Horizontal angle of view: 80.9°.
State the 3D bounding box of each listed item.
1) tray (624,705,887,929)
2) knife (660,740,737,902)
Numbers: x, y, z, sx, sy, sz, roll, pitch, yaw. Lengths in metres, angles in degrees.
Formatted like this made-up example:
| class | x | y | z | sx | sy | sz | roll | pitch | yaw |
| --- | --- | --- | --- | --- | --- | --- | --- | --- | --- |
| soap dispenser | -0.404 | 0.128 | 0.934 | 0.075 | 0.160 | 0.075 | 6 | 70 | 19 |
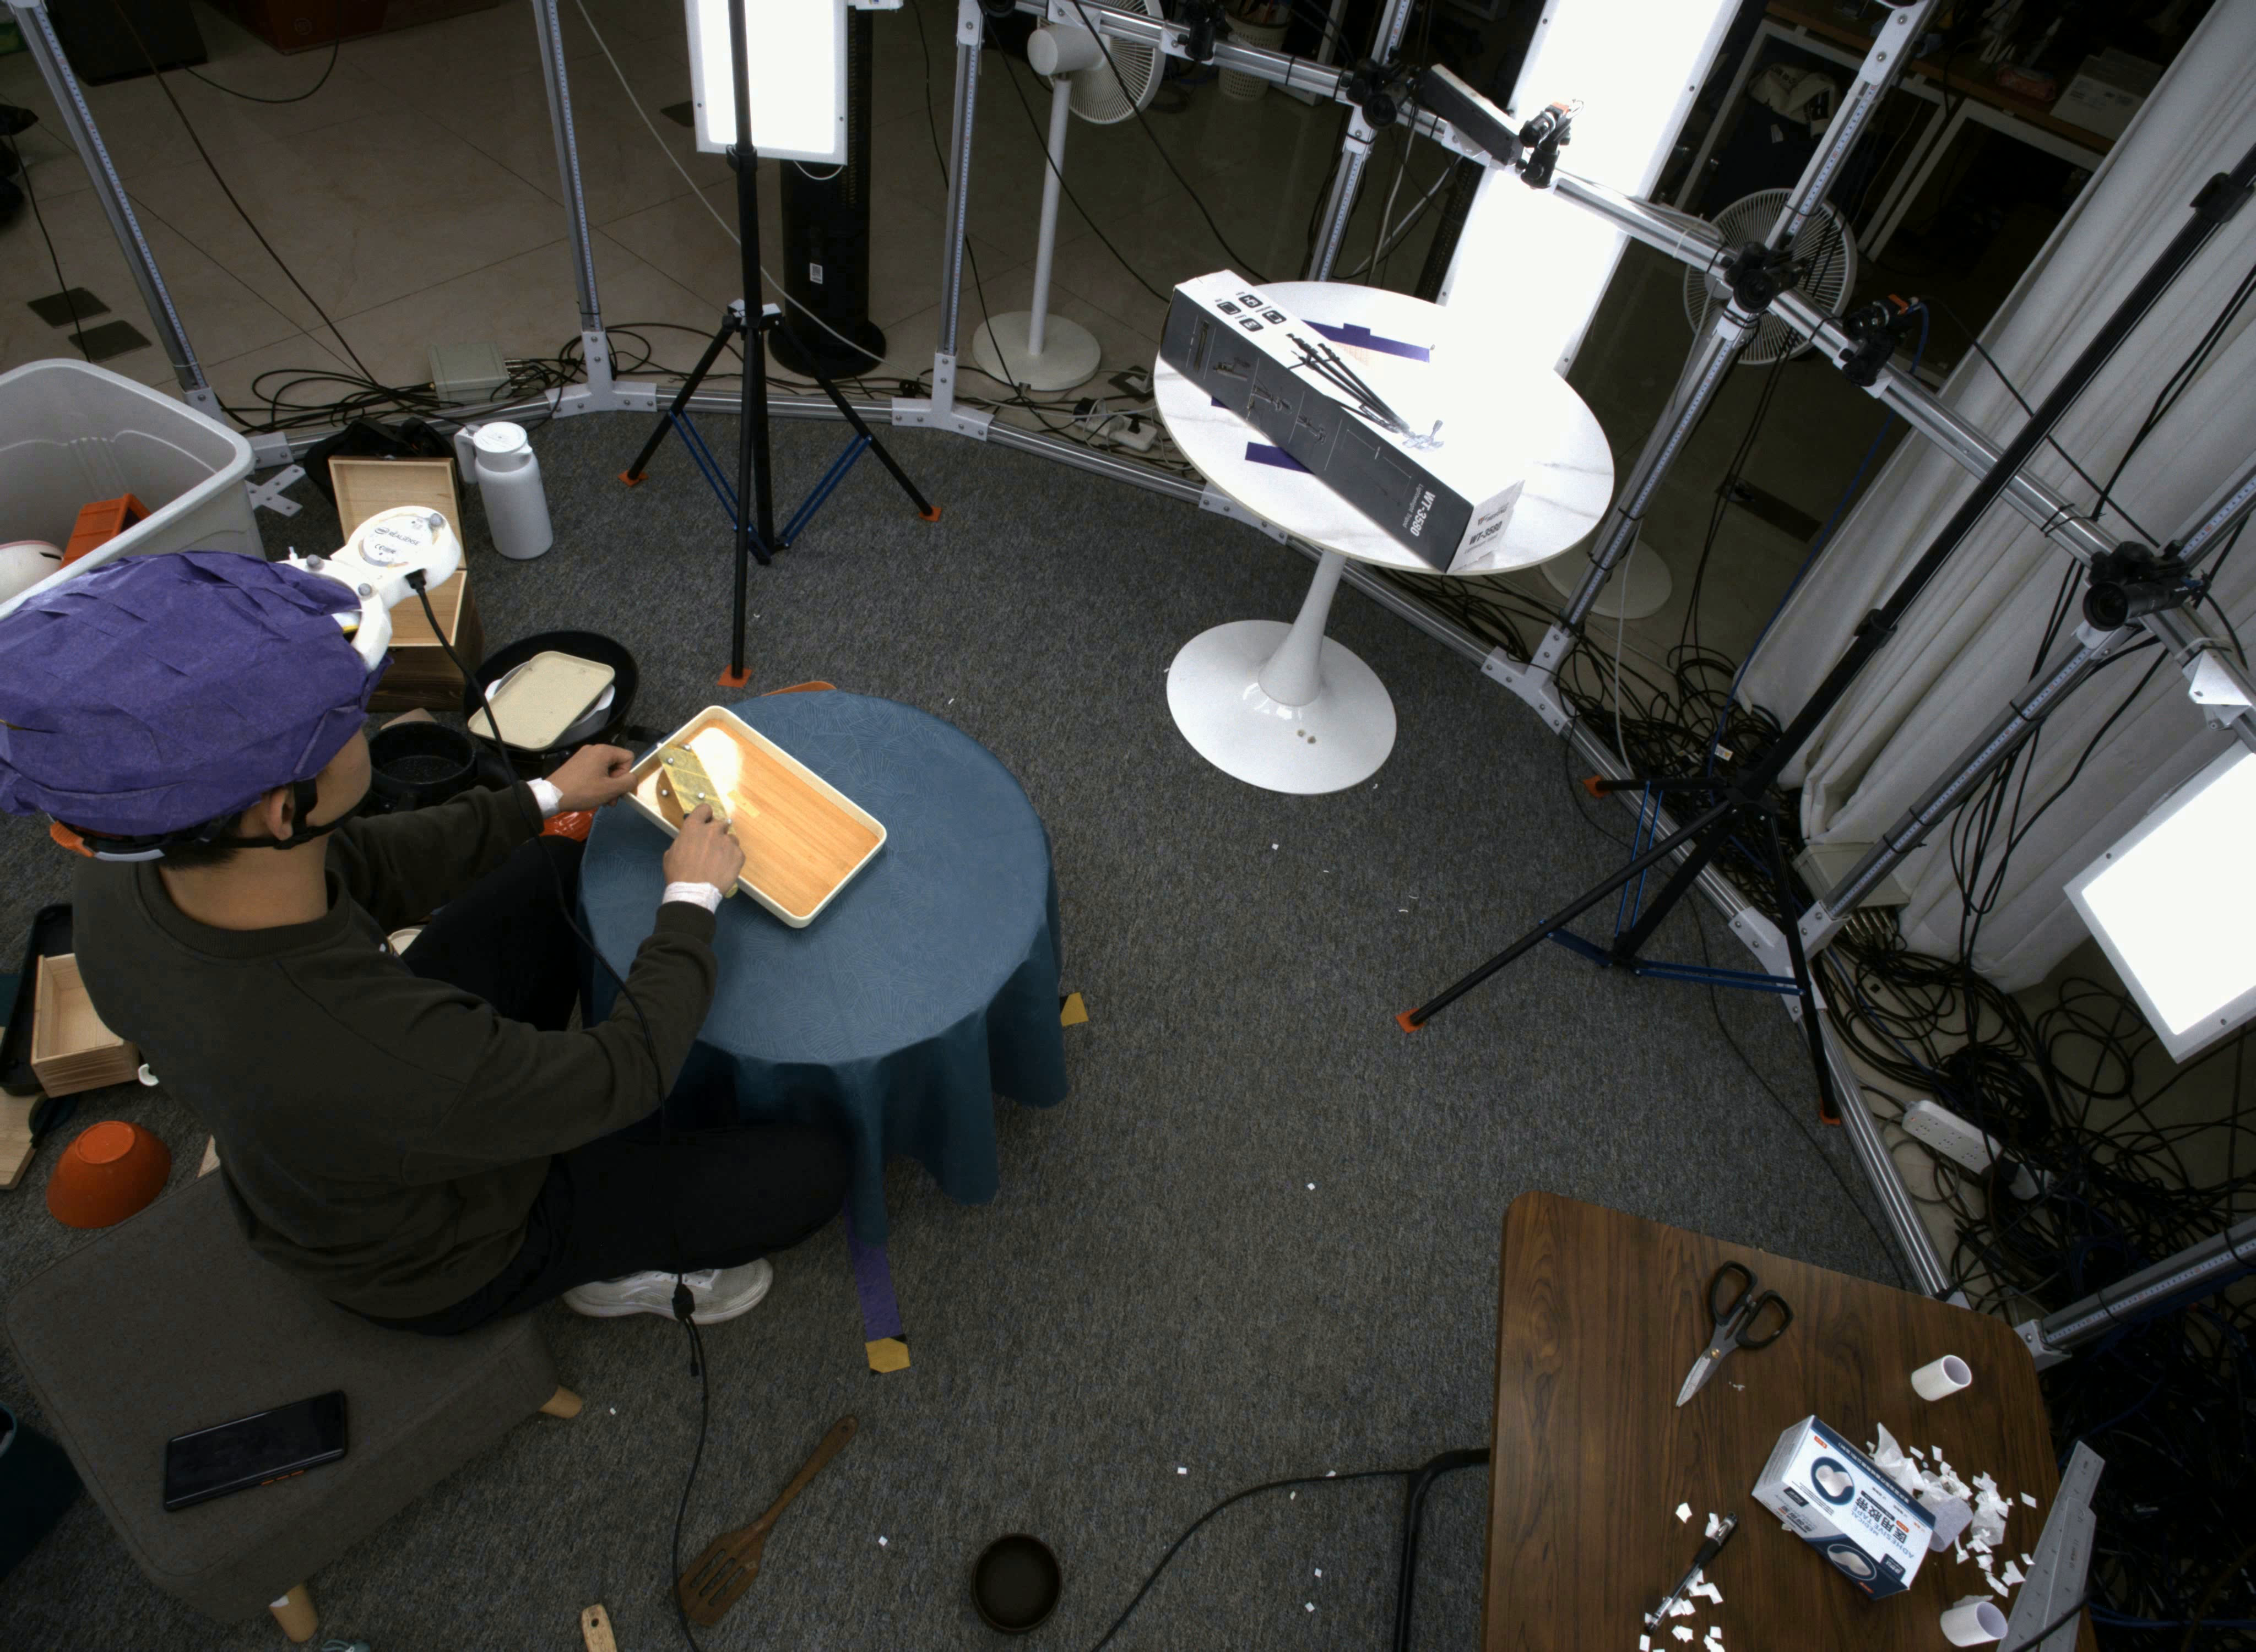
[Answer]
| class | x | y | z | sx | sy | sz | roll | pitch | yaw |
| --- | --- | --- | --- | --- | --- | --- | --- | --- | --- |
| tray | -0.482 | -0.017 | 1.677 | 0.299 | 0.027 | 0.191 | 37 | 51 | 0 |
| knife | -0.526 | -0.013 | 1.605 | 0.083 | 0.027 | 0.281 | 18 | 32 | -49 |
